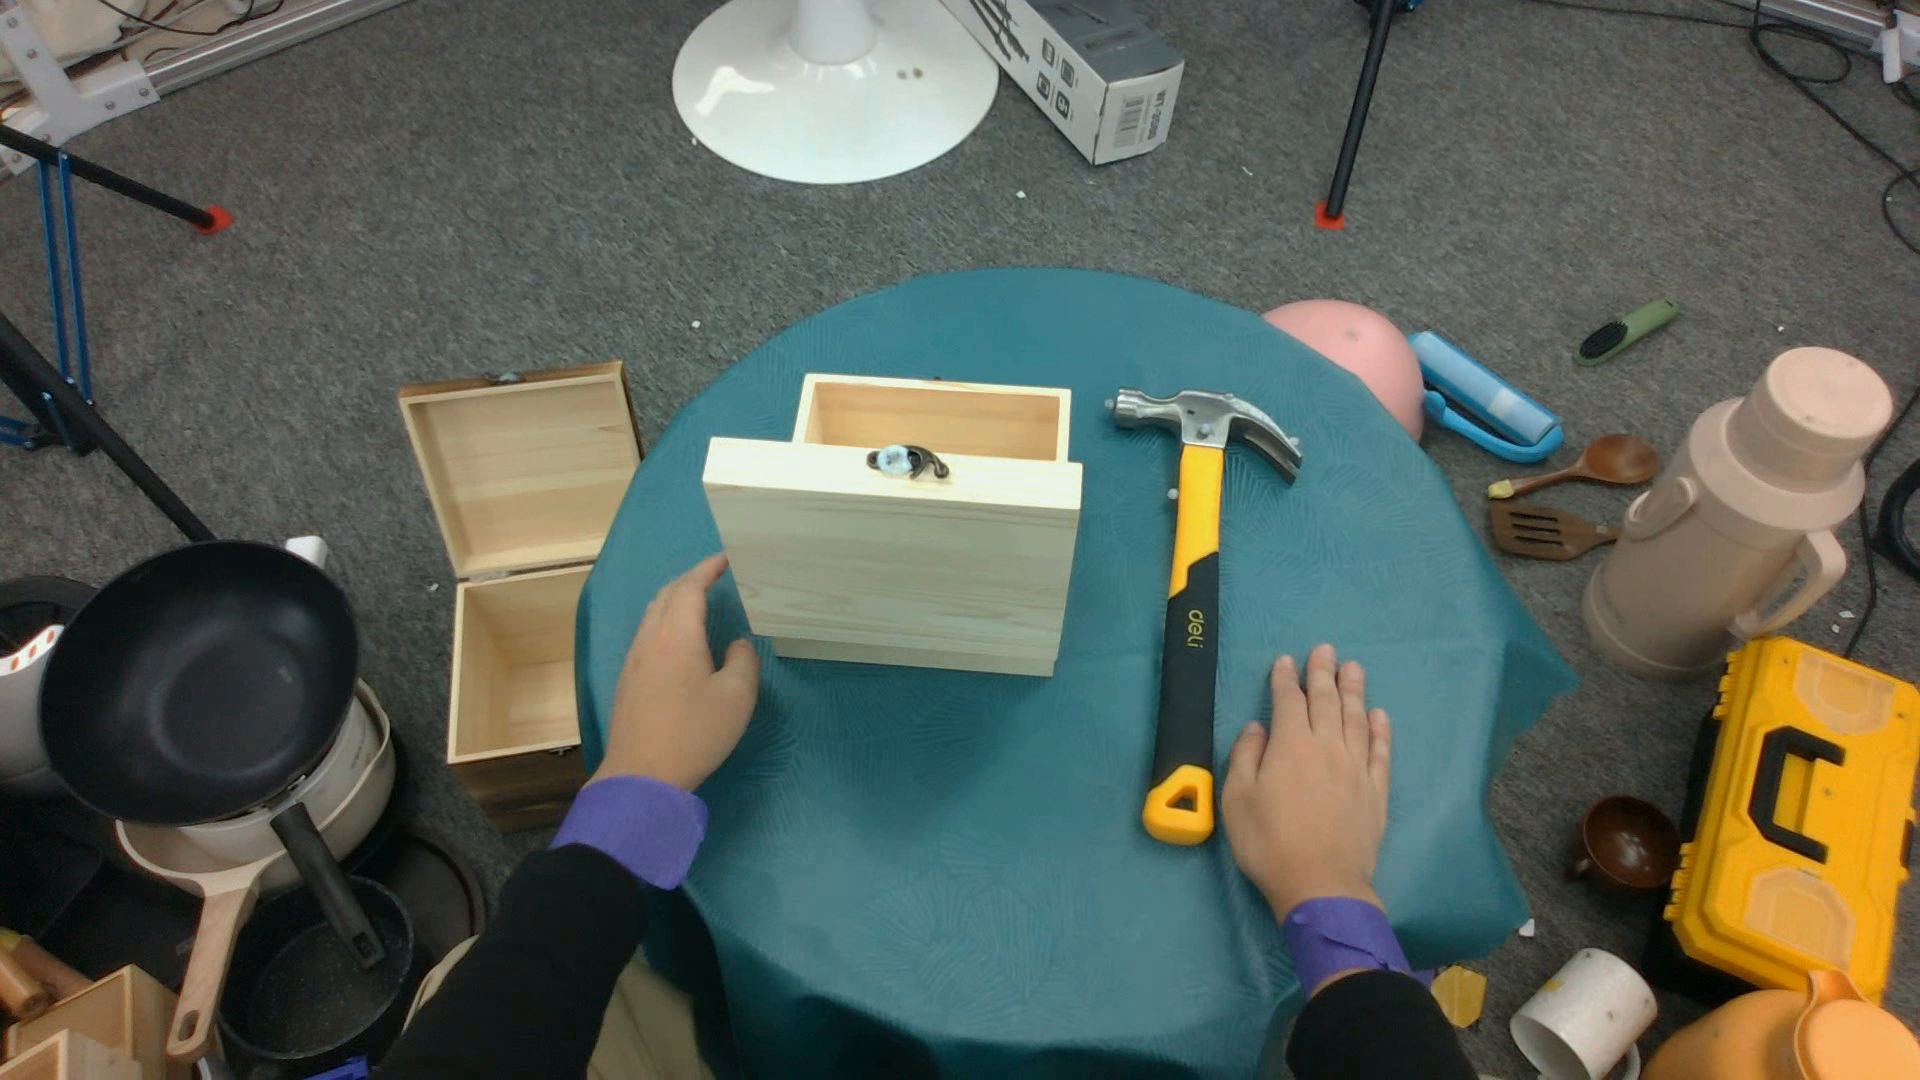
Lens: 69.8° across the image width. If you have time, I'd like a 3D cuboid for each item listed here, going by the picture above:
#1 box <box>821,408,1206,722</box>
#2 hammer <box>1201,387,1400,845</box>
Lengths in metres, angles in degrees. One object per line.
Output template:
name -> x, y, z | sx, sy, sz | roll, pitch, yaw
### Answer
box -> 0.036, -0.007, 0.811 | 0.181, 0.252, 0.266 | -6, 53, 5
hammer -> 0.227, 0.033, 0.878 | 0.131, 0.032, 0.340 | -3, 53, 9
